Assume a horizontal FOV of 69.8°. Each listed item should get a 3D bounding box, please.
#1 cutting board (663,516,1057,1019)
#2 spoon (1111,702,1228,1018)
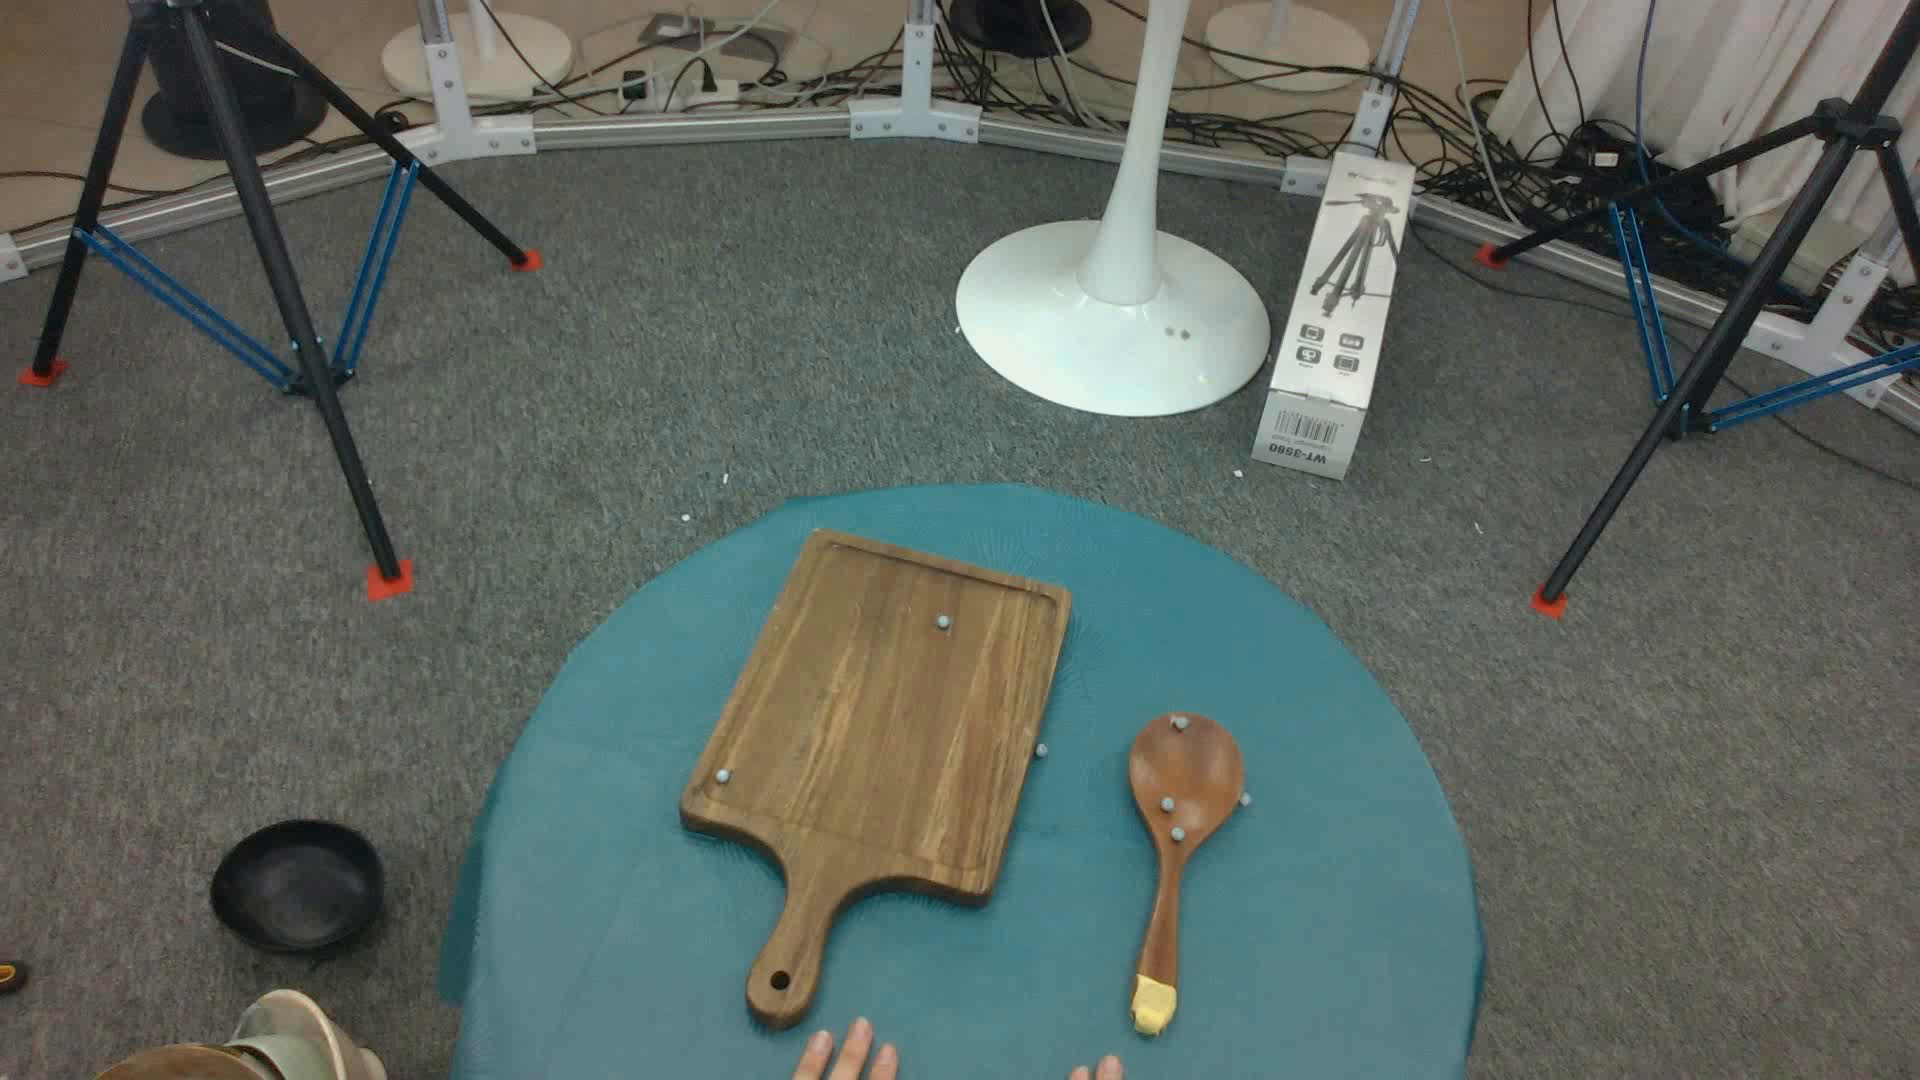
[{"bbox_3d":[-0.067,0.130,0.862,0.201,0.023,0.354,15,47,6],"label":"cutting board"},{"bbox_3d":[0.119,0.187,0.832,0.075,0.017,0.217,14,46,4],"label":"spoon"}]
